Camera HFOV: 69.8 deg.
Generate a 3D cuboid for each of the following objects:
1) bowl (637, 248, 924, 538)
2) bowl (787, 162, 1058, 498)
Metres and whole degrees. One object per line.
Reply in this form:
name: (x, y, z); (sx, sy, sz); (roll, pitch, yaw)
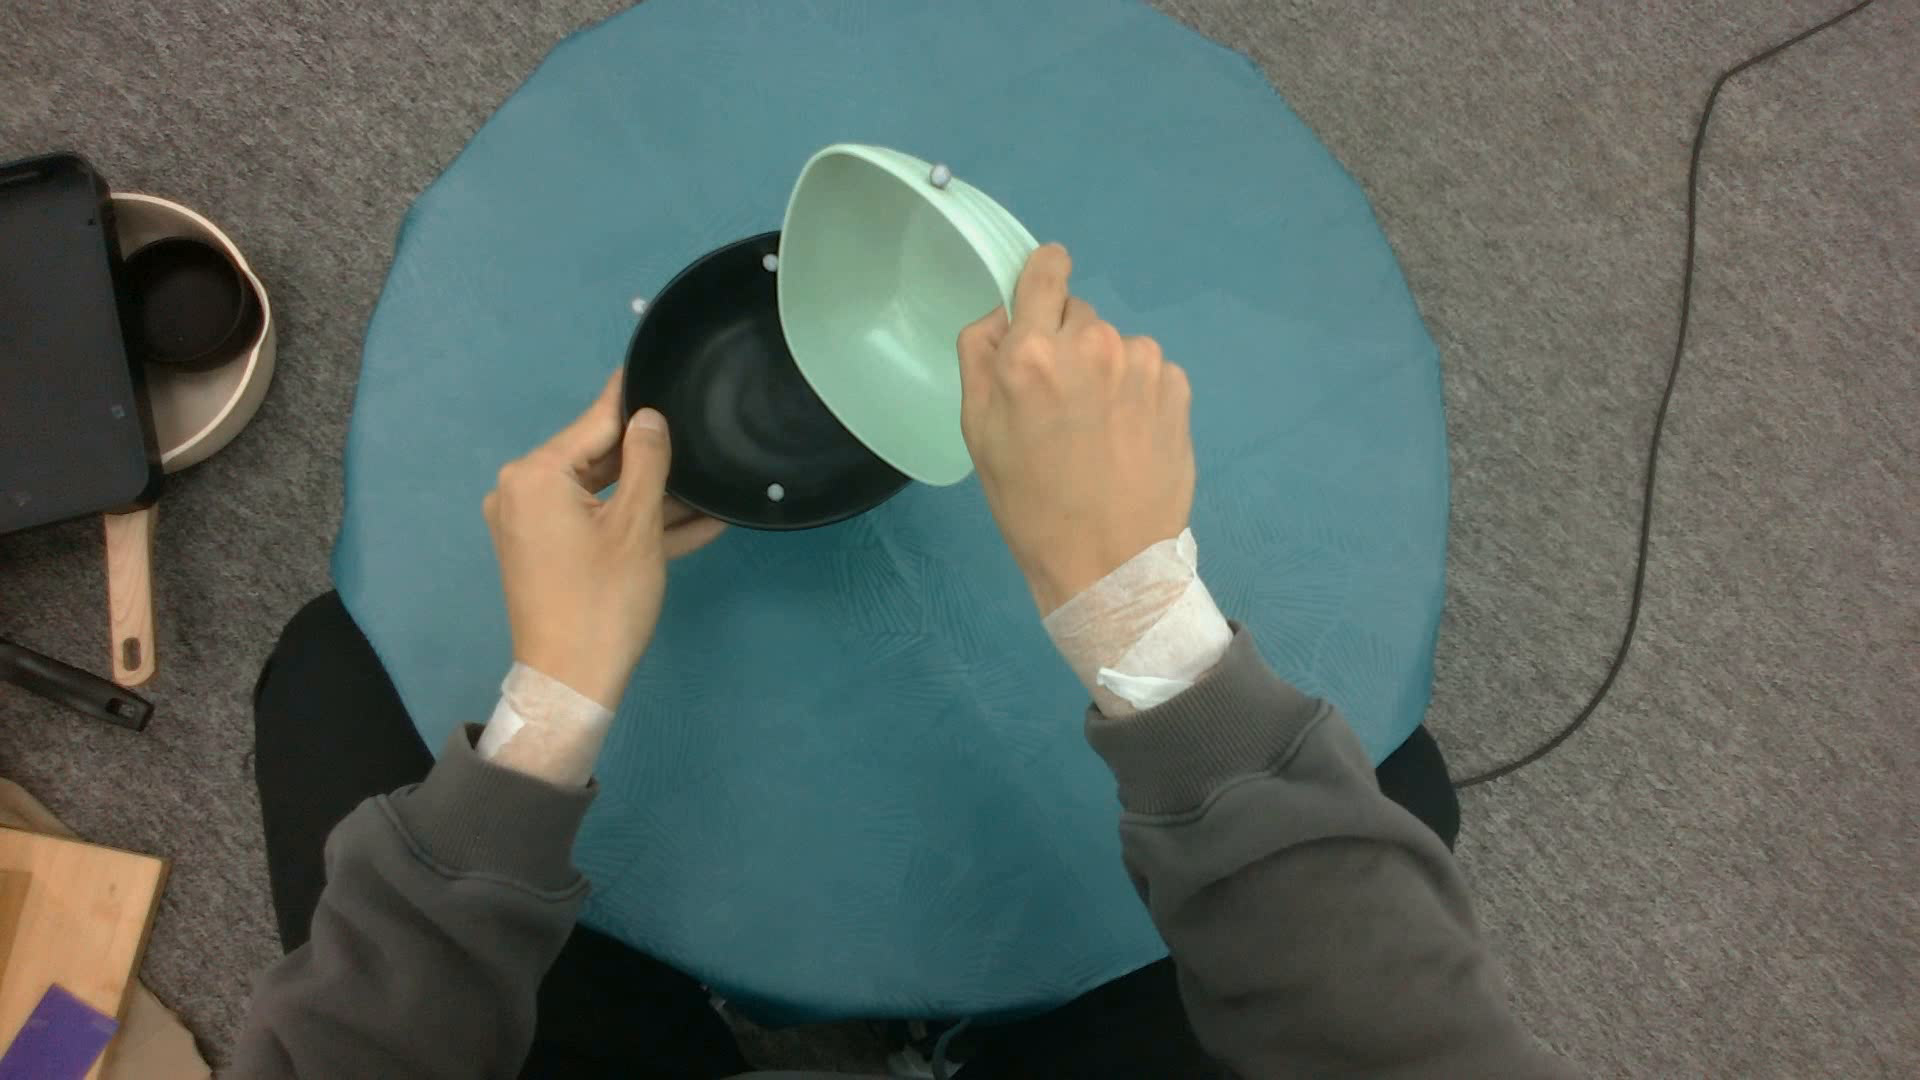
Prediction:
bowl: (-0.074, -0.069, 0.674); (0.170, 0.066, 0.137); (-22, 88, -16)
bowl: (-0.010, -0.099, 0.616); (0.059, 0.150, 0.151); (-30, 83, -38)
